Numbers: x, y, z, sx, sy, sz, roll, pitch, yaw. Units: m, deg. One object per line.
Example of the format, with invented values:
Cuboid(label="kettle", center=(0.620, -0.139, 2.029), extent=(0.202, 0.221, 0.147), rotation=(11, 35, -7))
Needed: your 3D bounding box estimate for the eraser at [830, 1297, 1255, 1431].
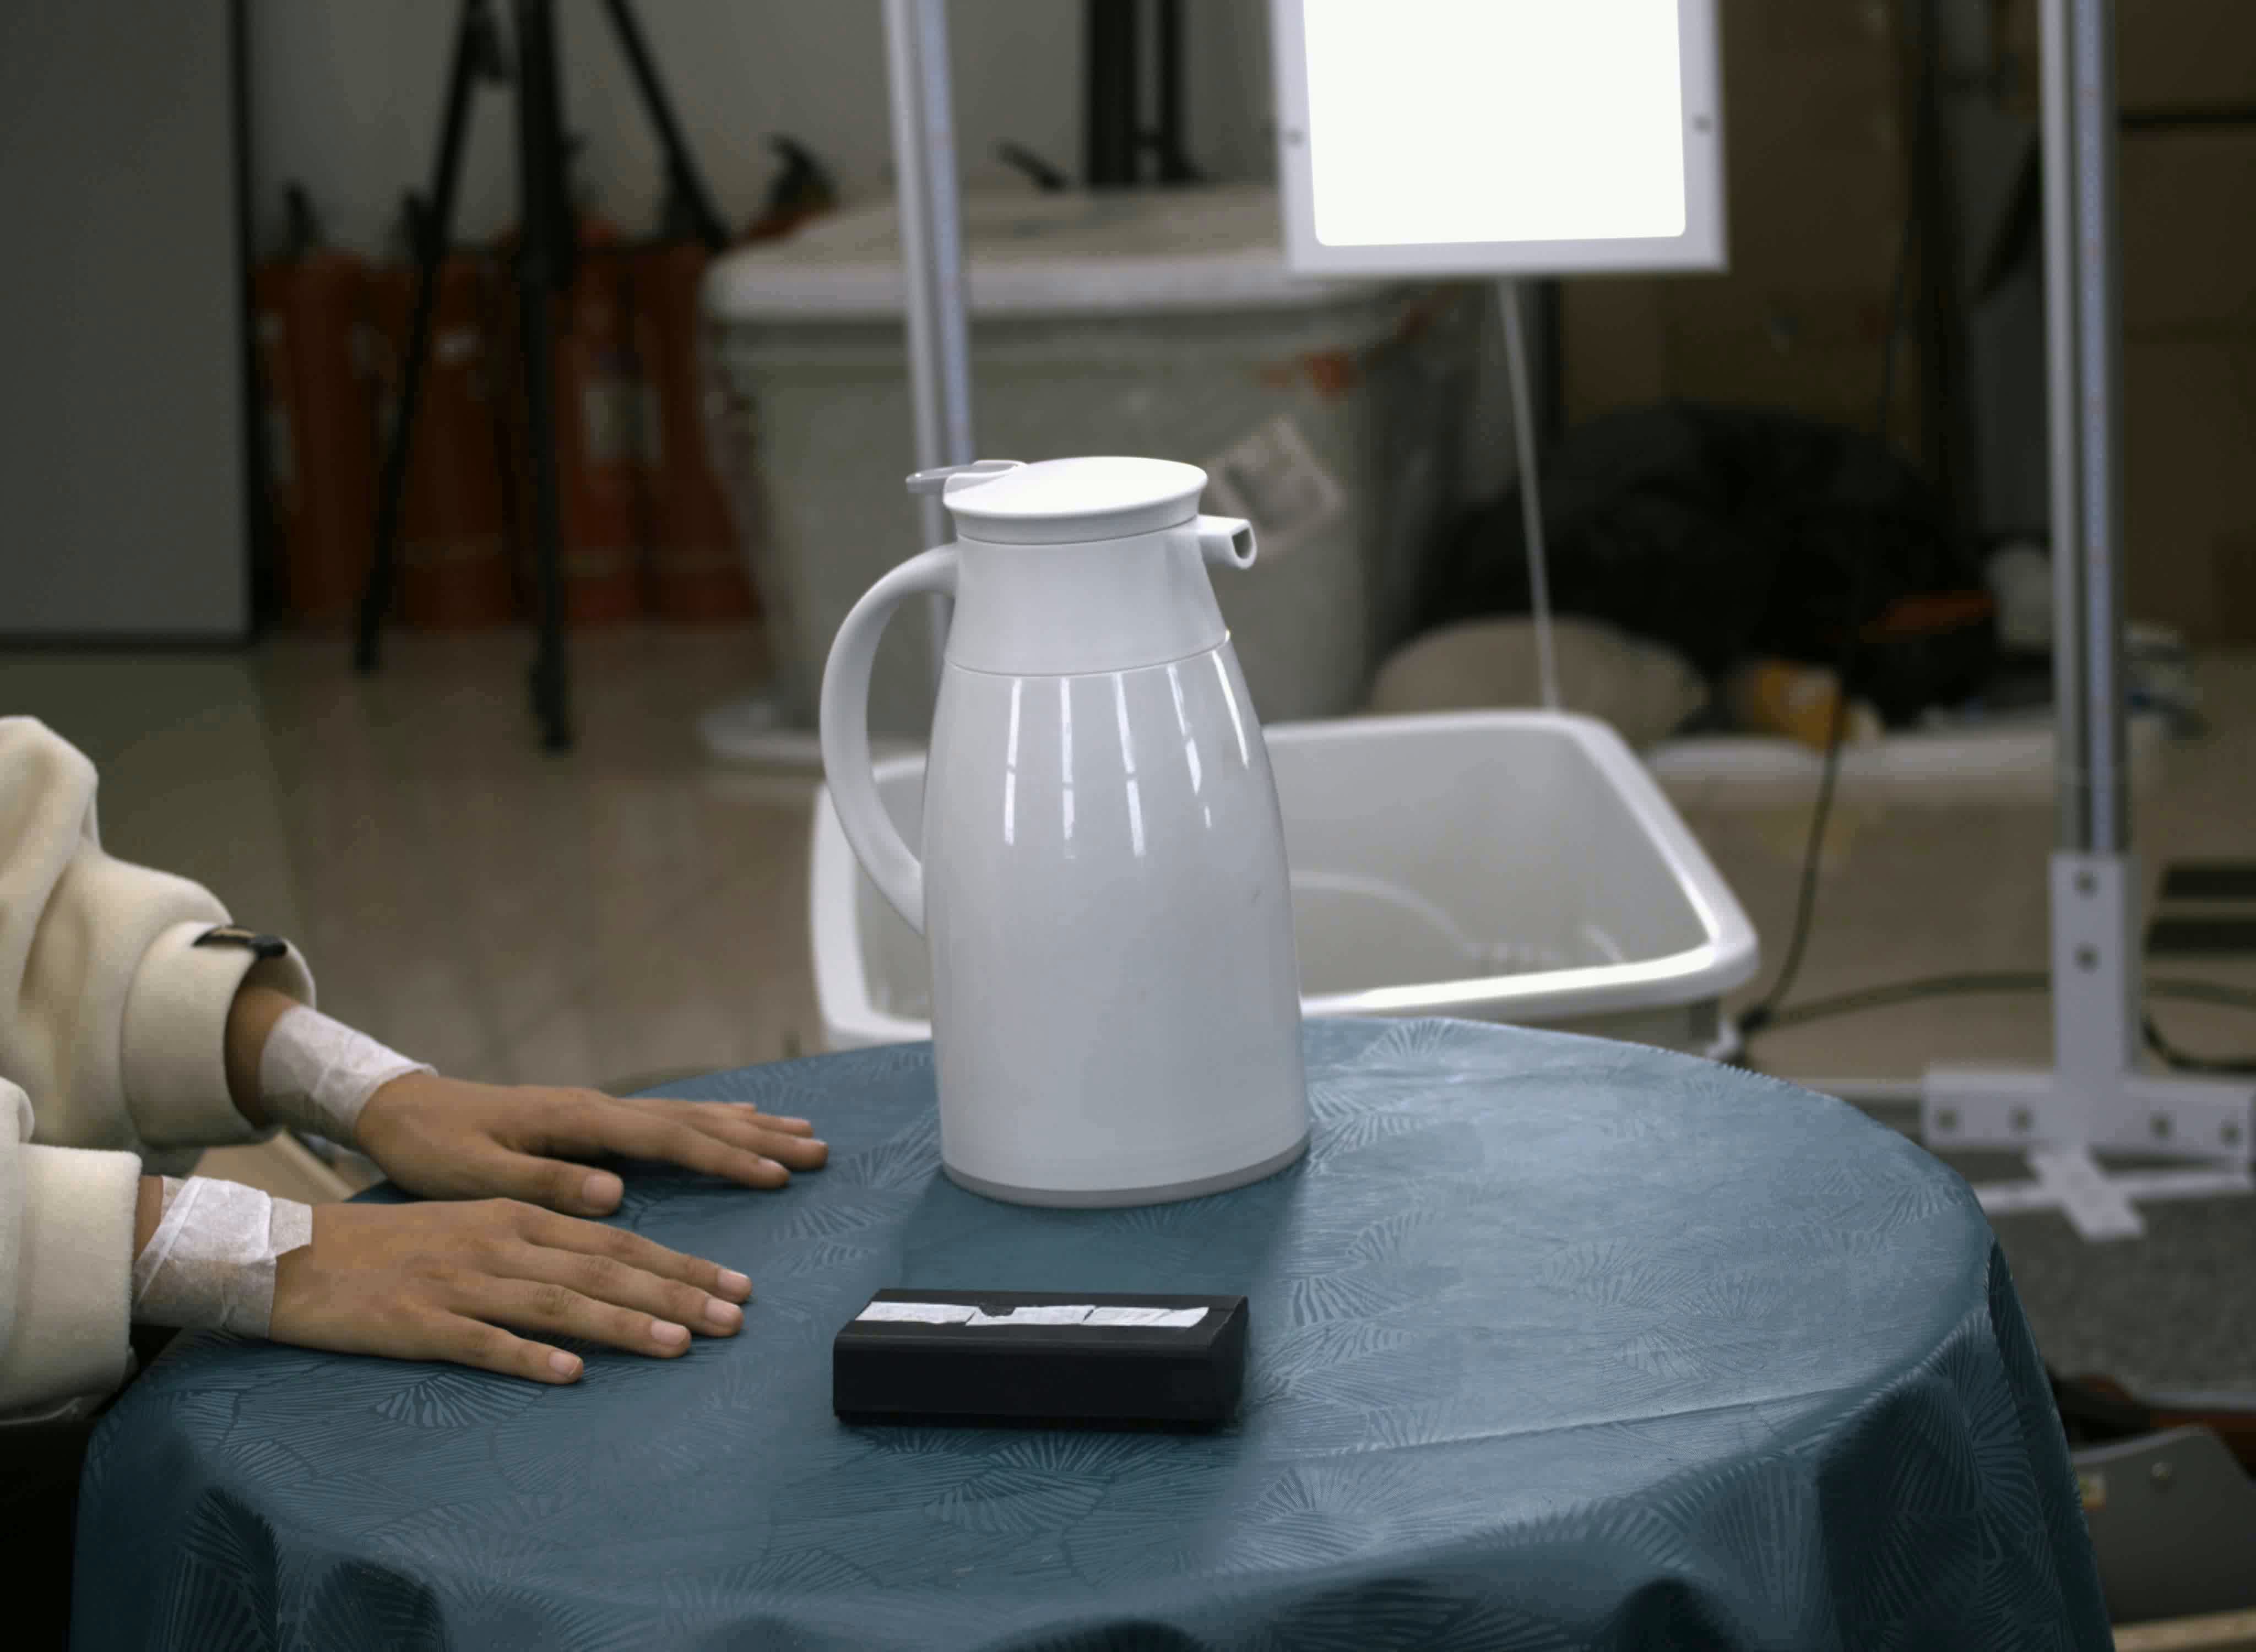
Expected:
Cuboid(label="eraser", center=(-0.025, 0.164, 1.692), extent=(0.127, 0.030, 0.053), rotation=(-1, 12, 17))

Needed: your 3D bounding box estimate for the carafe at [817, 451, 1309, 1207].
Cuboid(label="carafe", center=(-0.028, -0.005, 1.922), extent=(0.170, 0.249, 0.130), rotation=(1, 15, 25))
